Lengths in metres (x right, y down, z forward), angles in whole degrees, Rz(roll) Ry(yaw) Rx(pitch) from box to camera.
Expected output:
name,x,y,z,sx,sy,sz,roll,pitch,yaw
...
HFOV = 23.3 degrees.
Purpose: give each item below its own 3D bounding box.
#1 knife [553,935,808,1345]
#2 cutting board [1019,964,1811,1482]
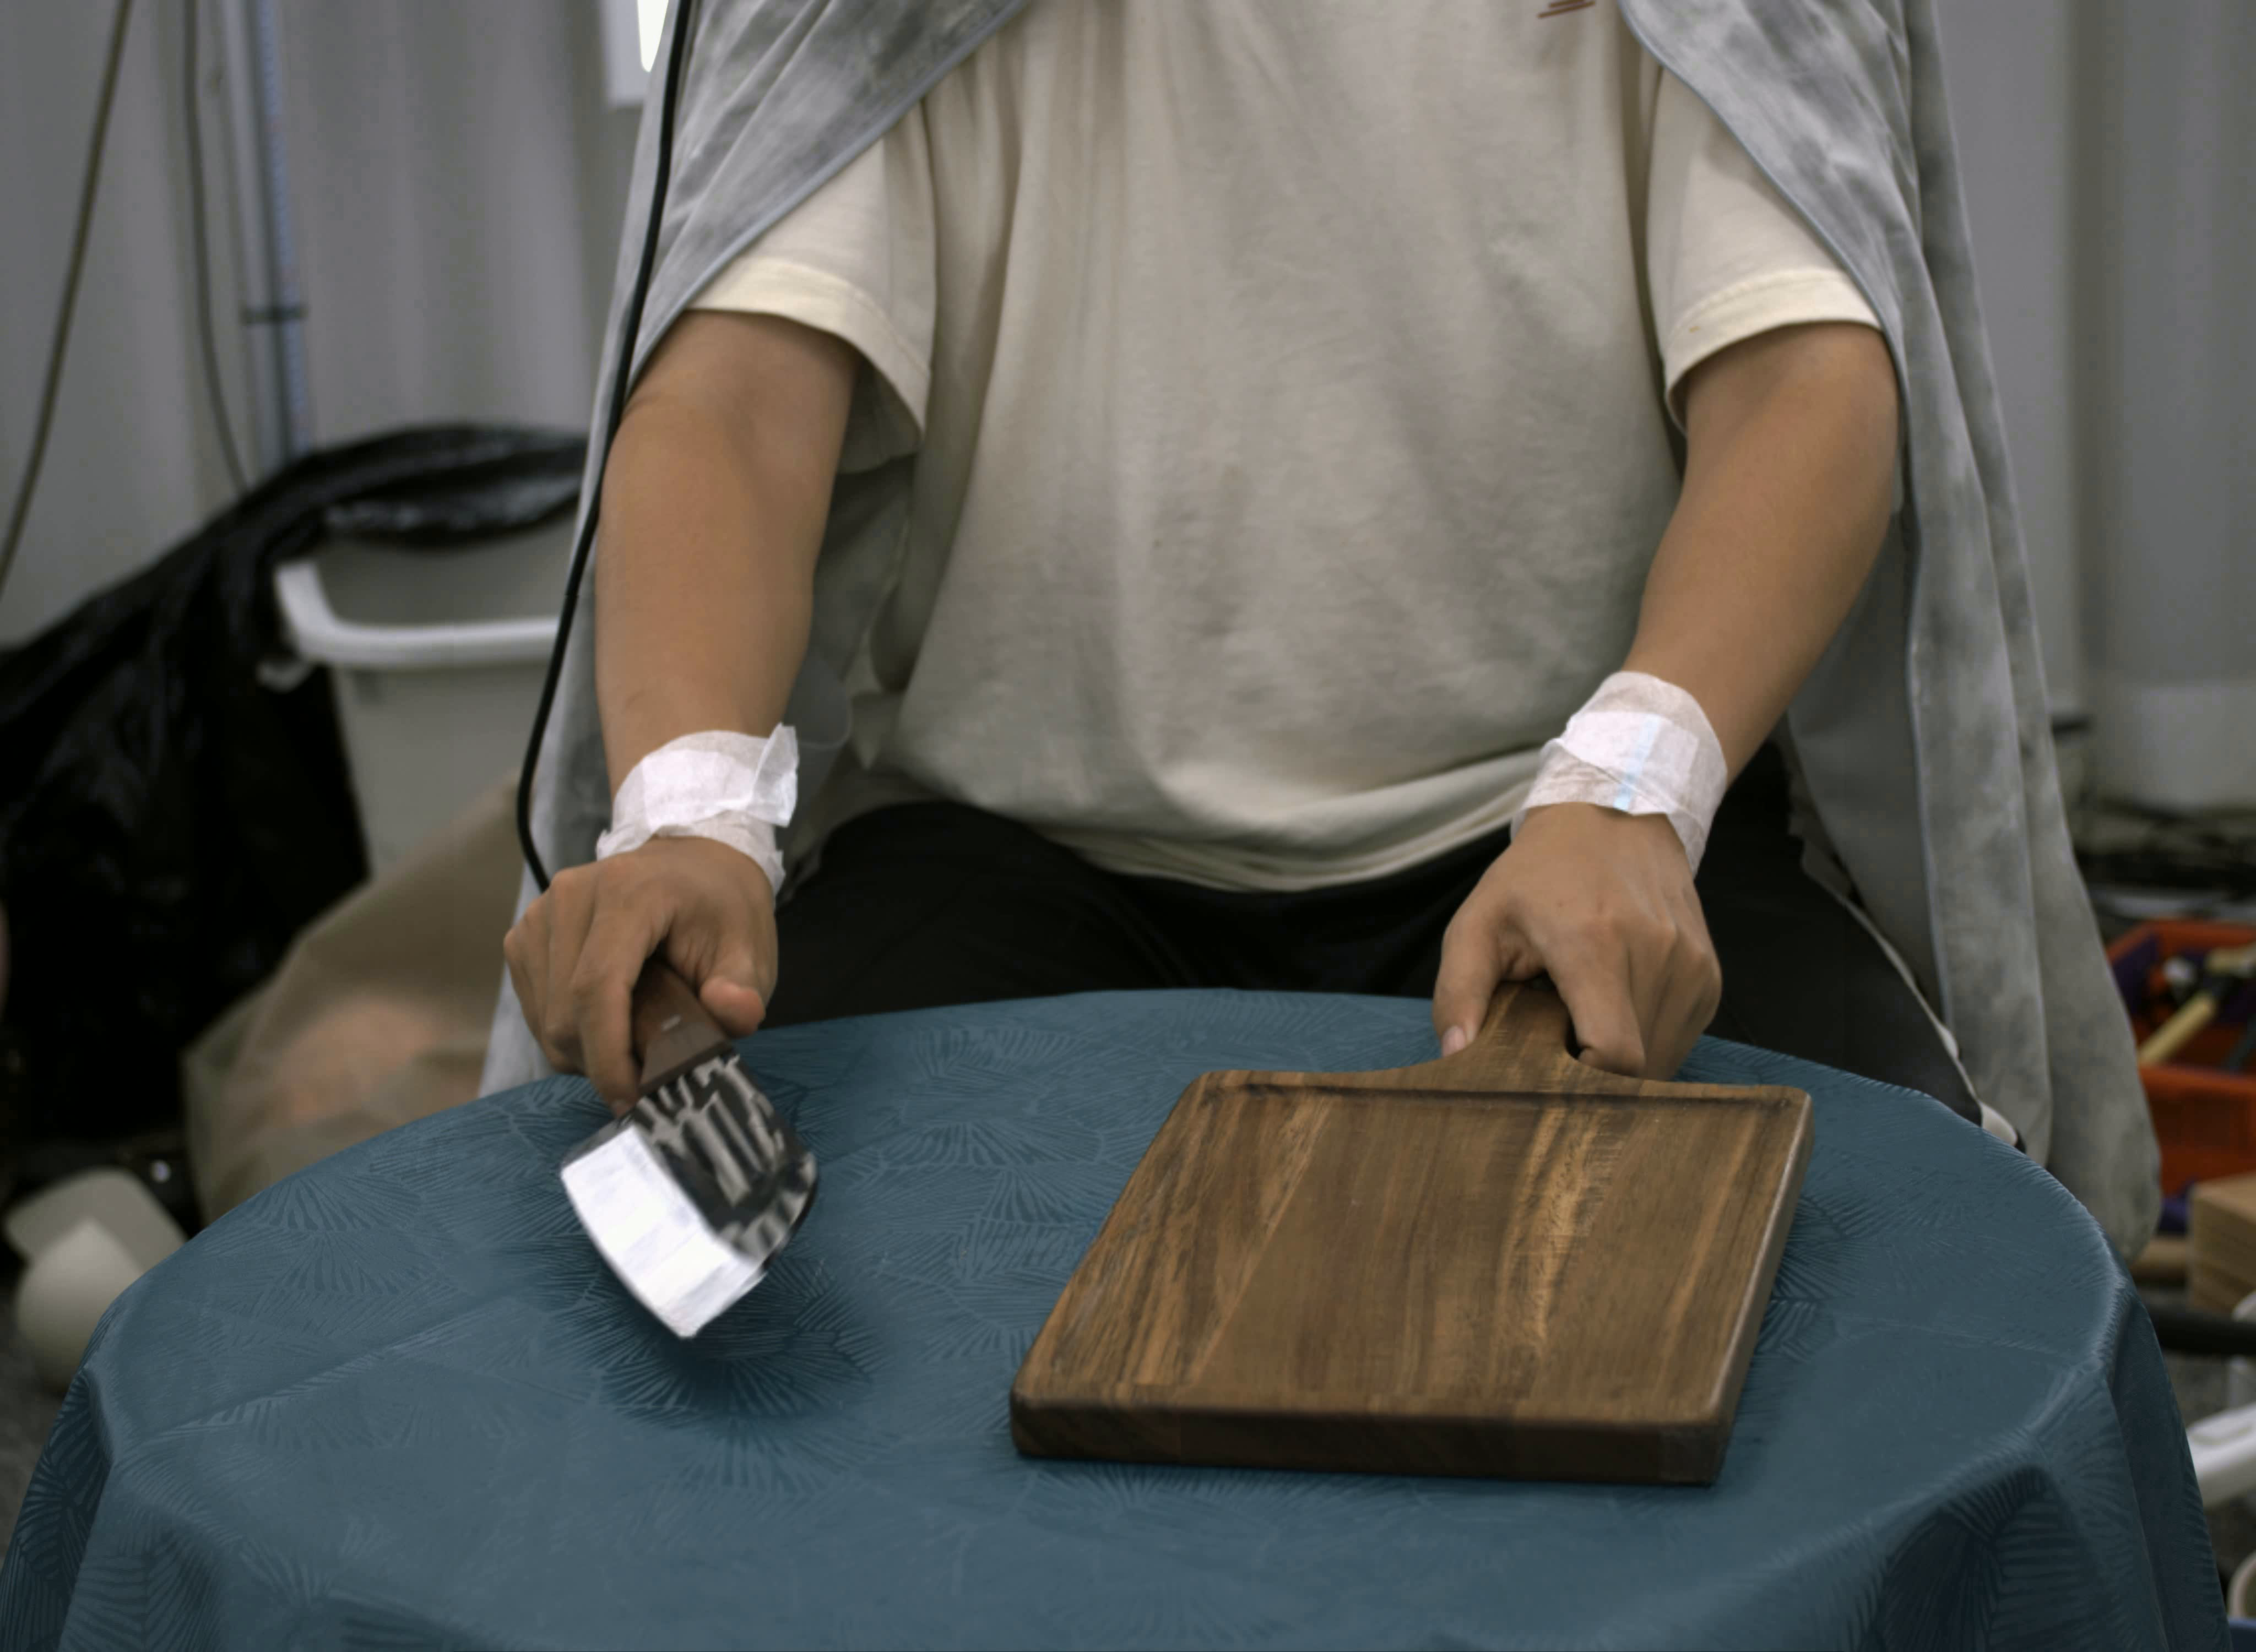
name,x,y,z,sx,sy,sz,roll,pitch,yaw
knife,-0.144,0.095,1.681,0.068,0.024,0.302,-32,21,-4
cutting board,0.100,0.110,1.634,0.201,0.023,0.354,1,18,13
